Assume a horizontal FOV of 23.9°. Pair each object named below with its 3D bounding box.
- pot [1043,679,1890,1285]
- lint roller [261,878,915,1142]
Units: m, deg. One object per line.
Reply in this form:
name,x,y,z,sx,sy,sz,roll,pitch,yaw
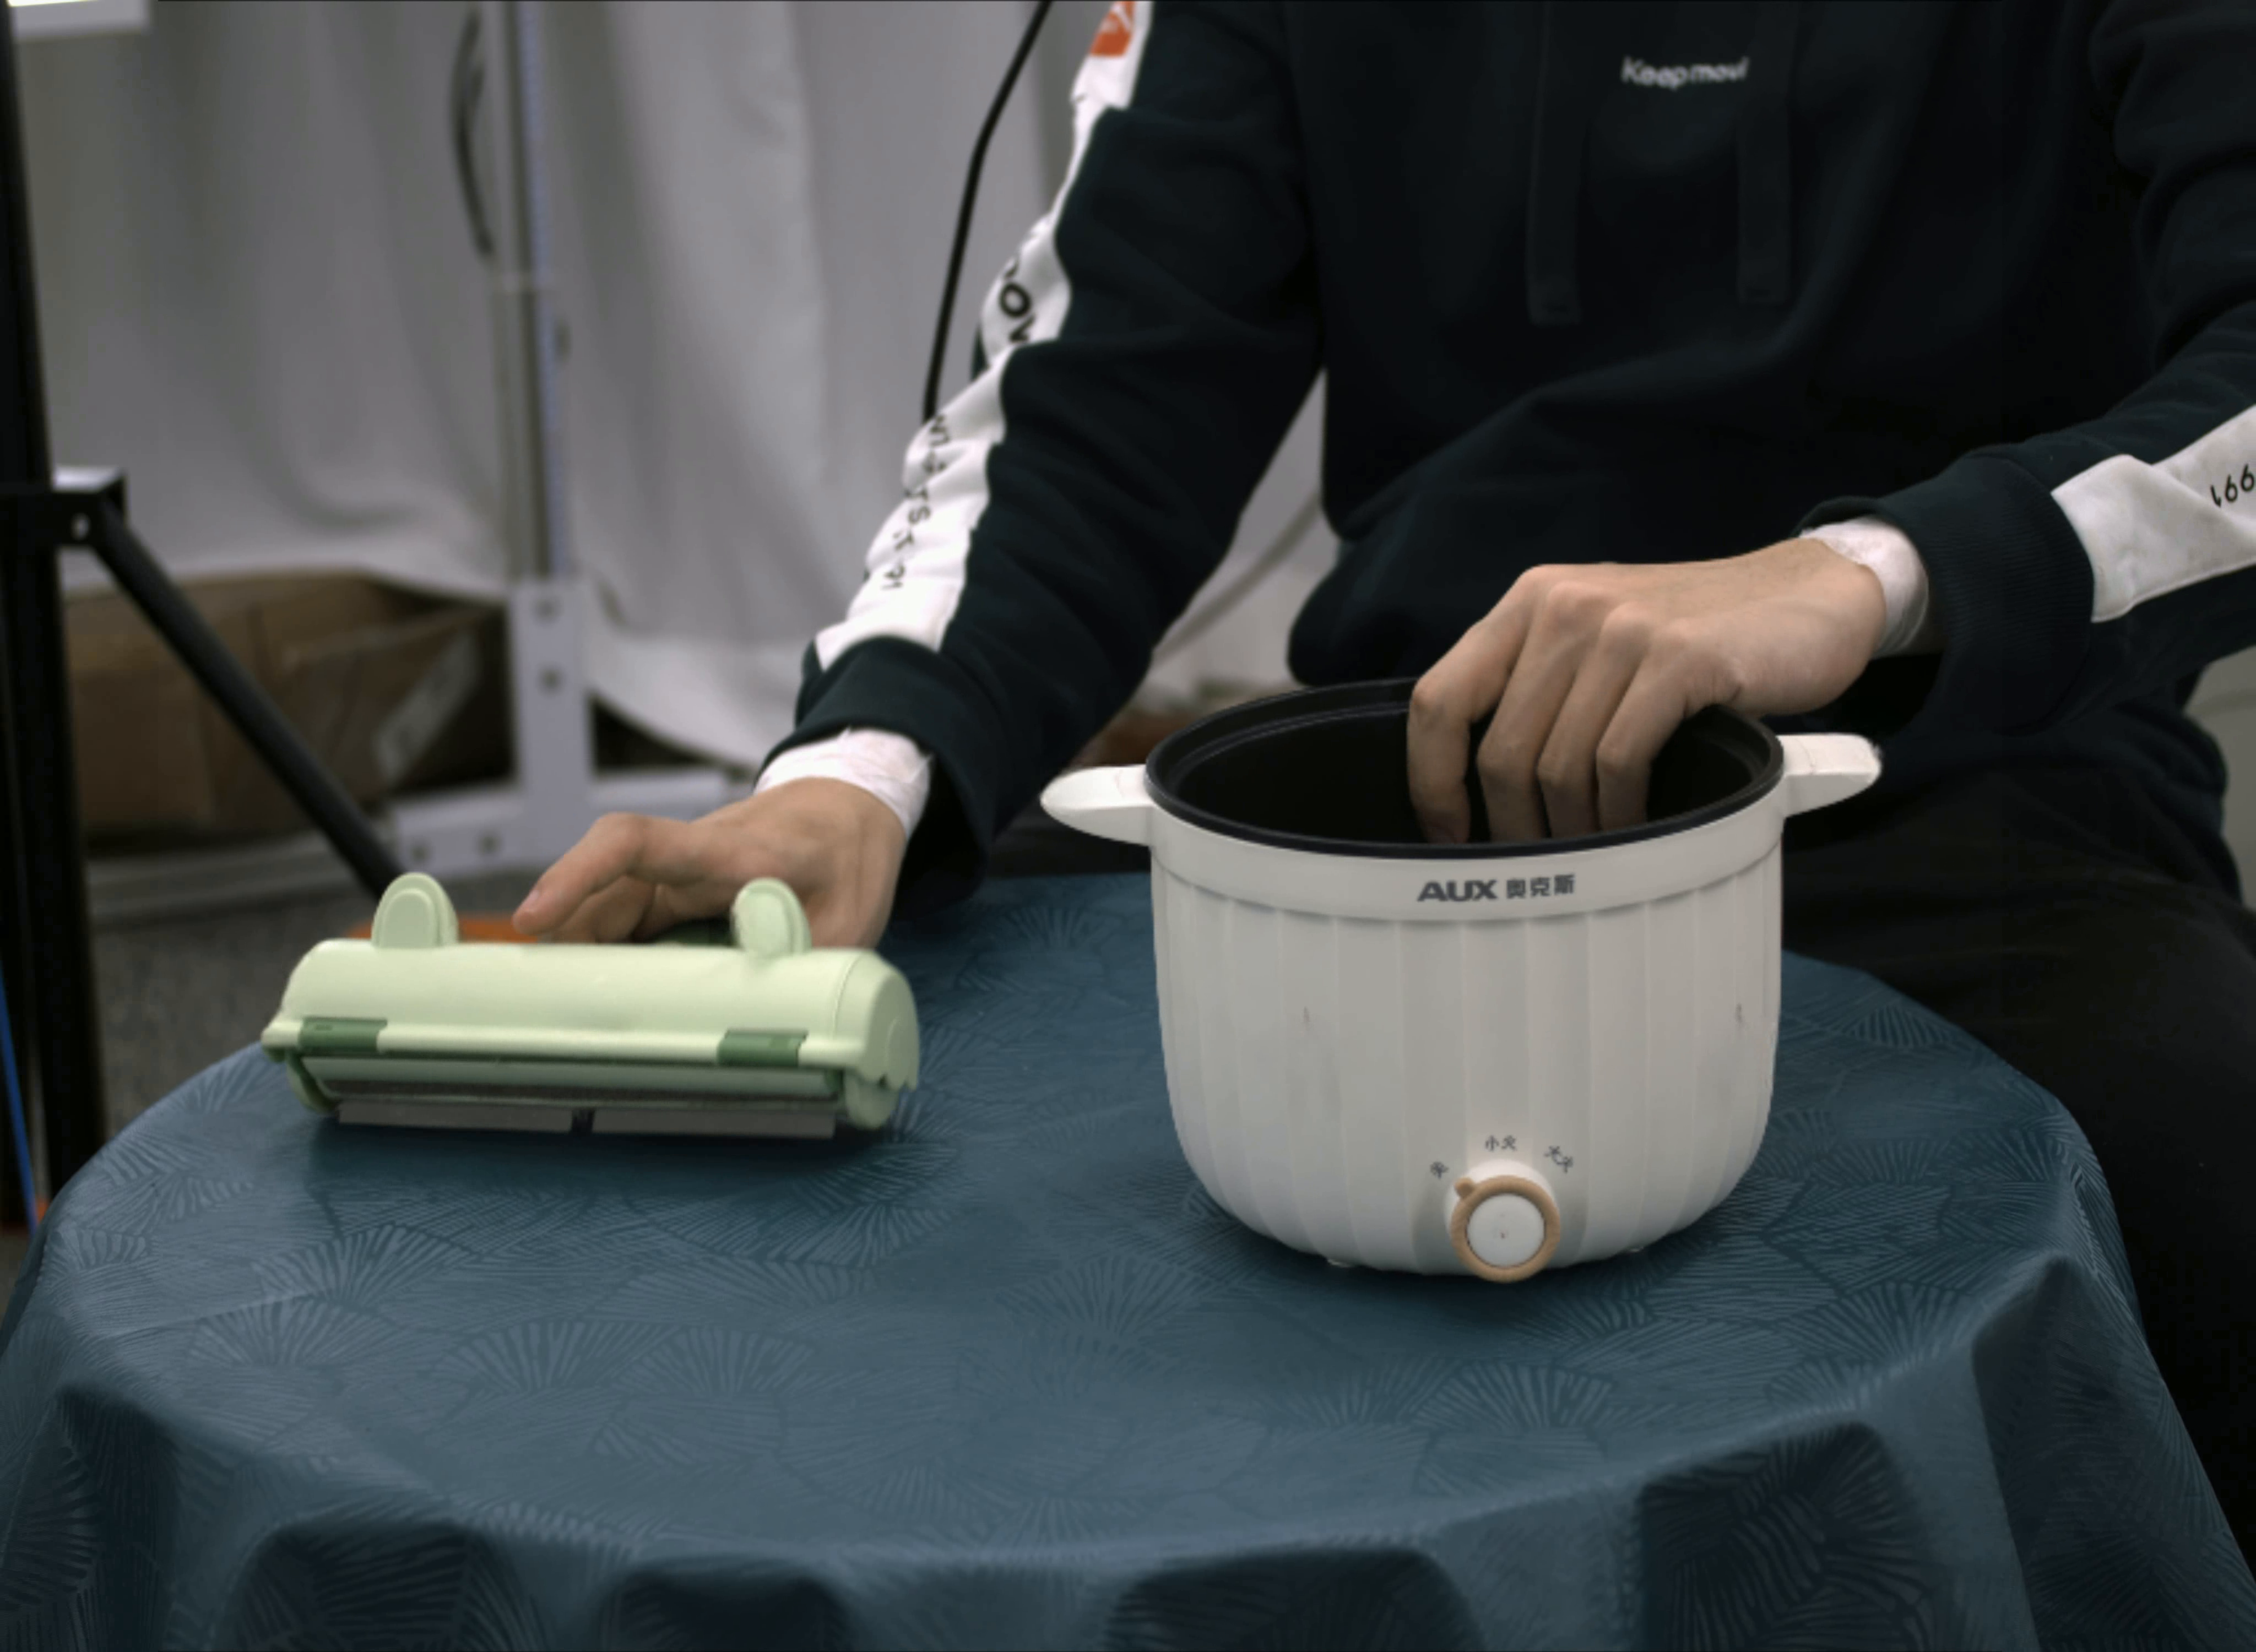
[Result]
pot,0.099,0.047,1.506,0.239,0.143,0.191,-4,13,0
lint roller,-0.149,0.039,1.677,0.201,0.082,0.182,1,22,19
